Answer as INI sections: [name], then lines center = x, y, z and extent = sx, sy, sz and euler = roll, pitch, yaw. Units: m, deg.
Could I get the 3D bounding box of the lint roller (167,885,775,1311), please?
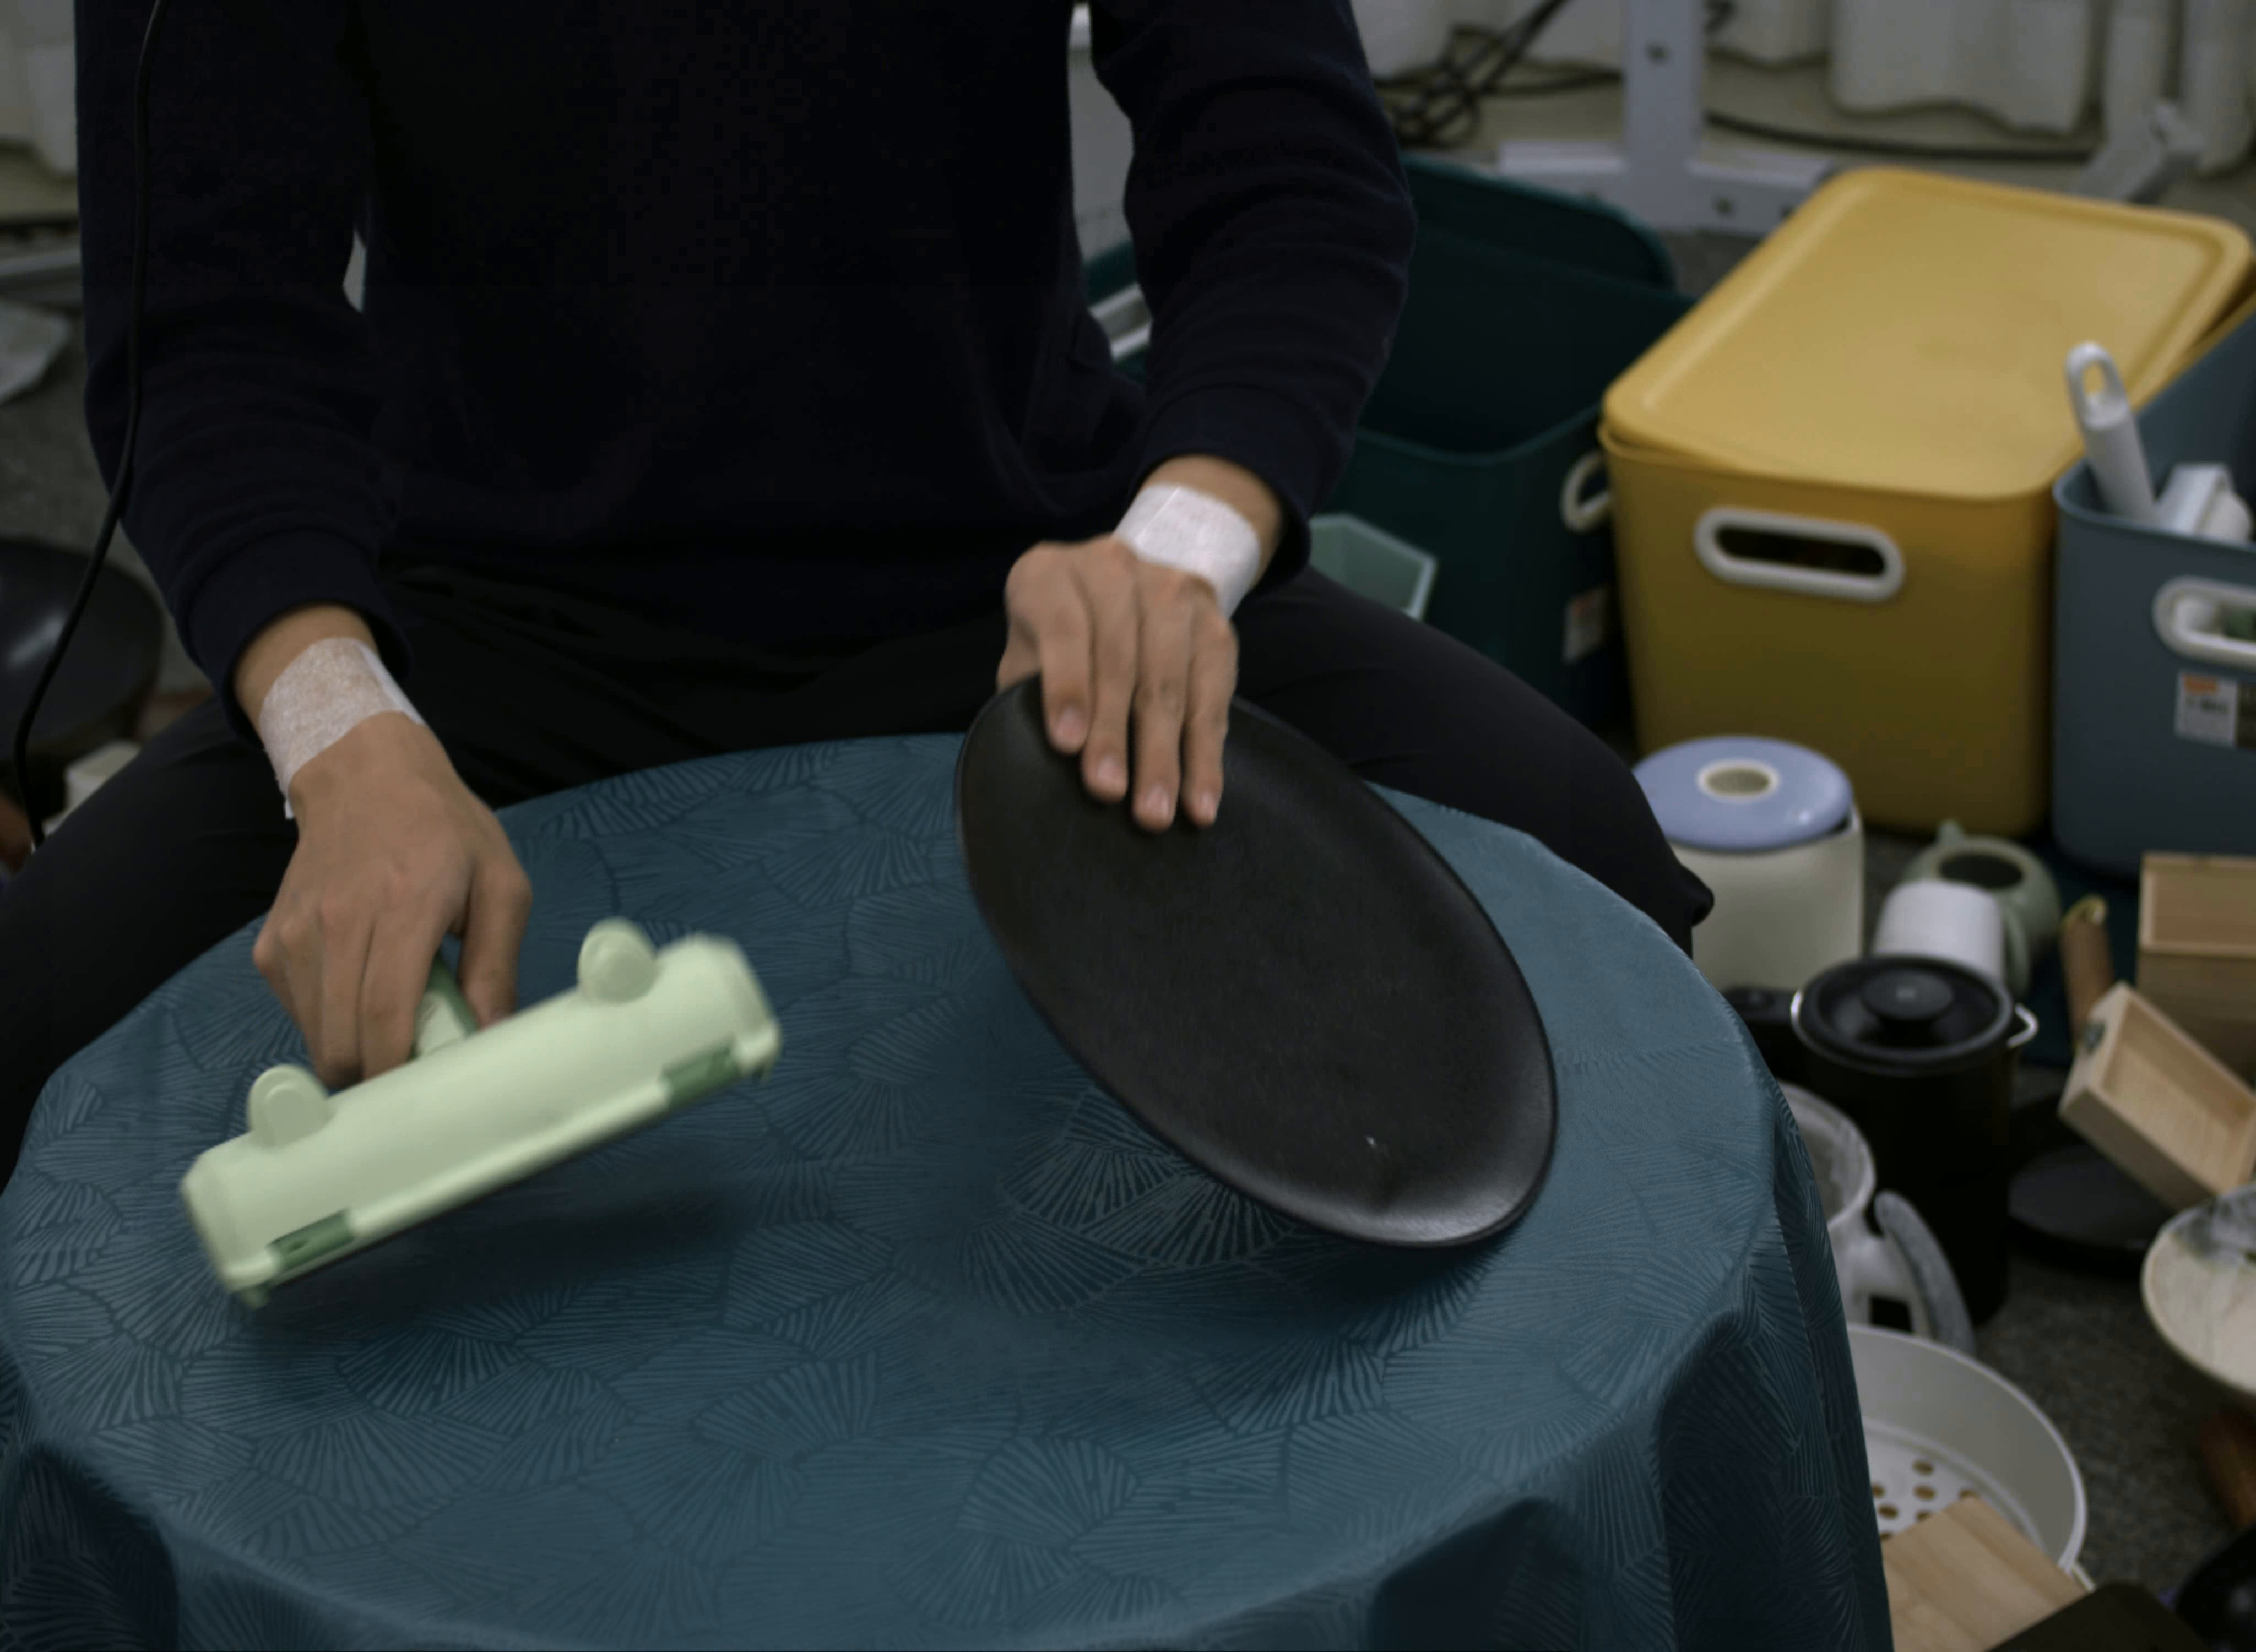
[lint roller]
center = -0.237, 0.060, 1.857
extent = 0.199, 0.081, 0.185
euler = -22, 46, -15

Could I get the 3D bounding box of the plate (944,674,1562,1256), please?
[plate]
center = 0.039, 0.049, 1.851
extent = 0.243, 0.023, 0.249
euler = 27, 34, -20
